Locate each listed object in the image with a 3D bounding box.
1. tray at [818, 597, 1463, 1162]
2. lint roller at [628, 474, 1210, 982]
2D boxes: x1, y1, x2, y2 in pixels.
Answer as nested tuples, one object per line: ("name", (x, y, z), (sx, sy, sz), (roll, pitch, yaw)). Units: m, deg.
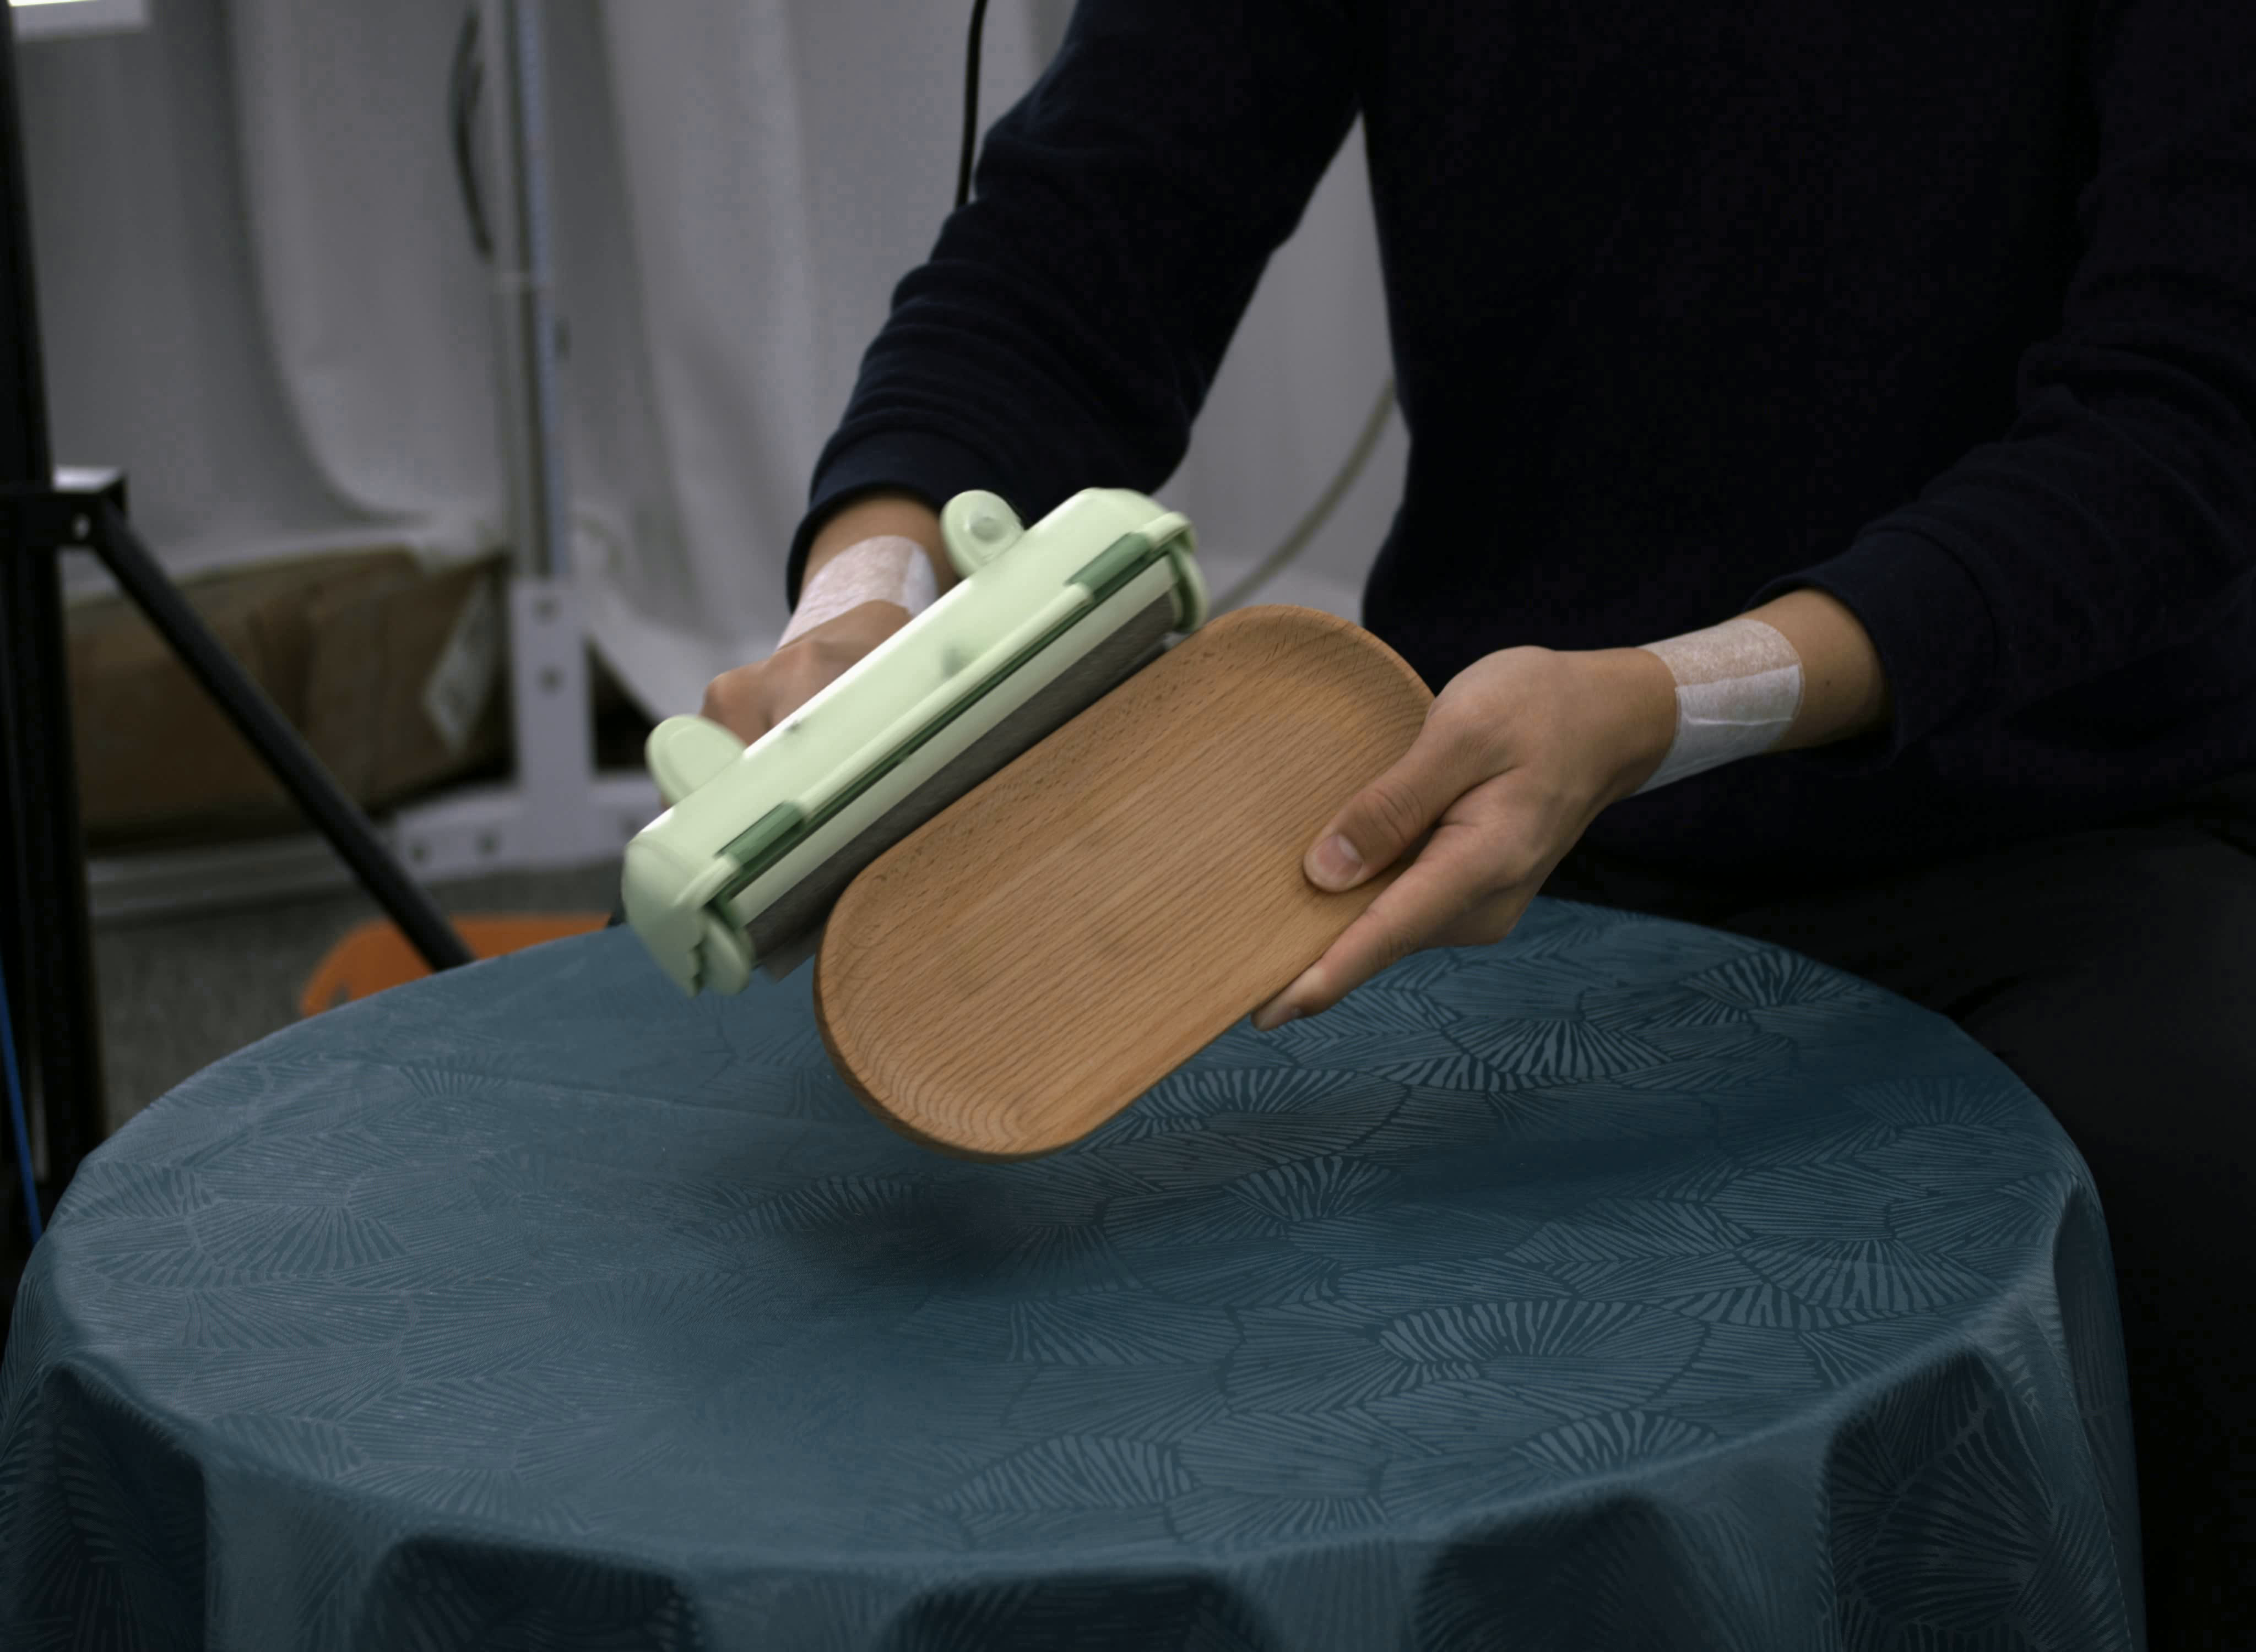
("tray", (0.006, 0.015, 1.537), (0.228, 0.102, 0.020), (-36, -8, -31))
("lint roller", (-0.088, -0.033, 1.590), (0.196, 0.081, 0.186), (-38, 15, -23))
